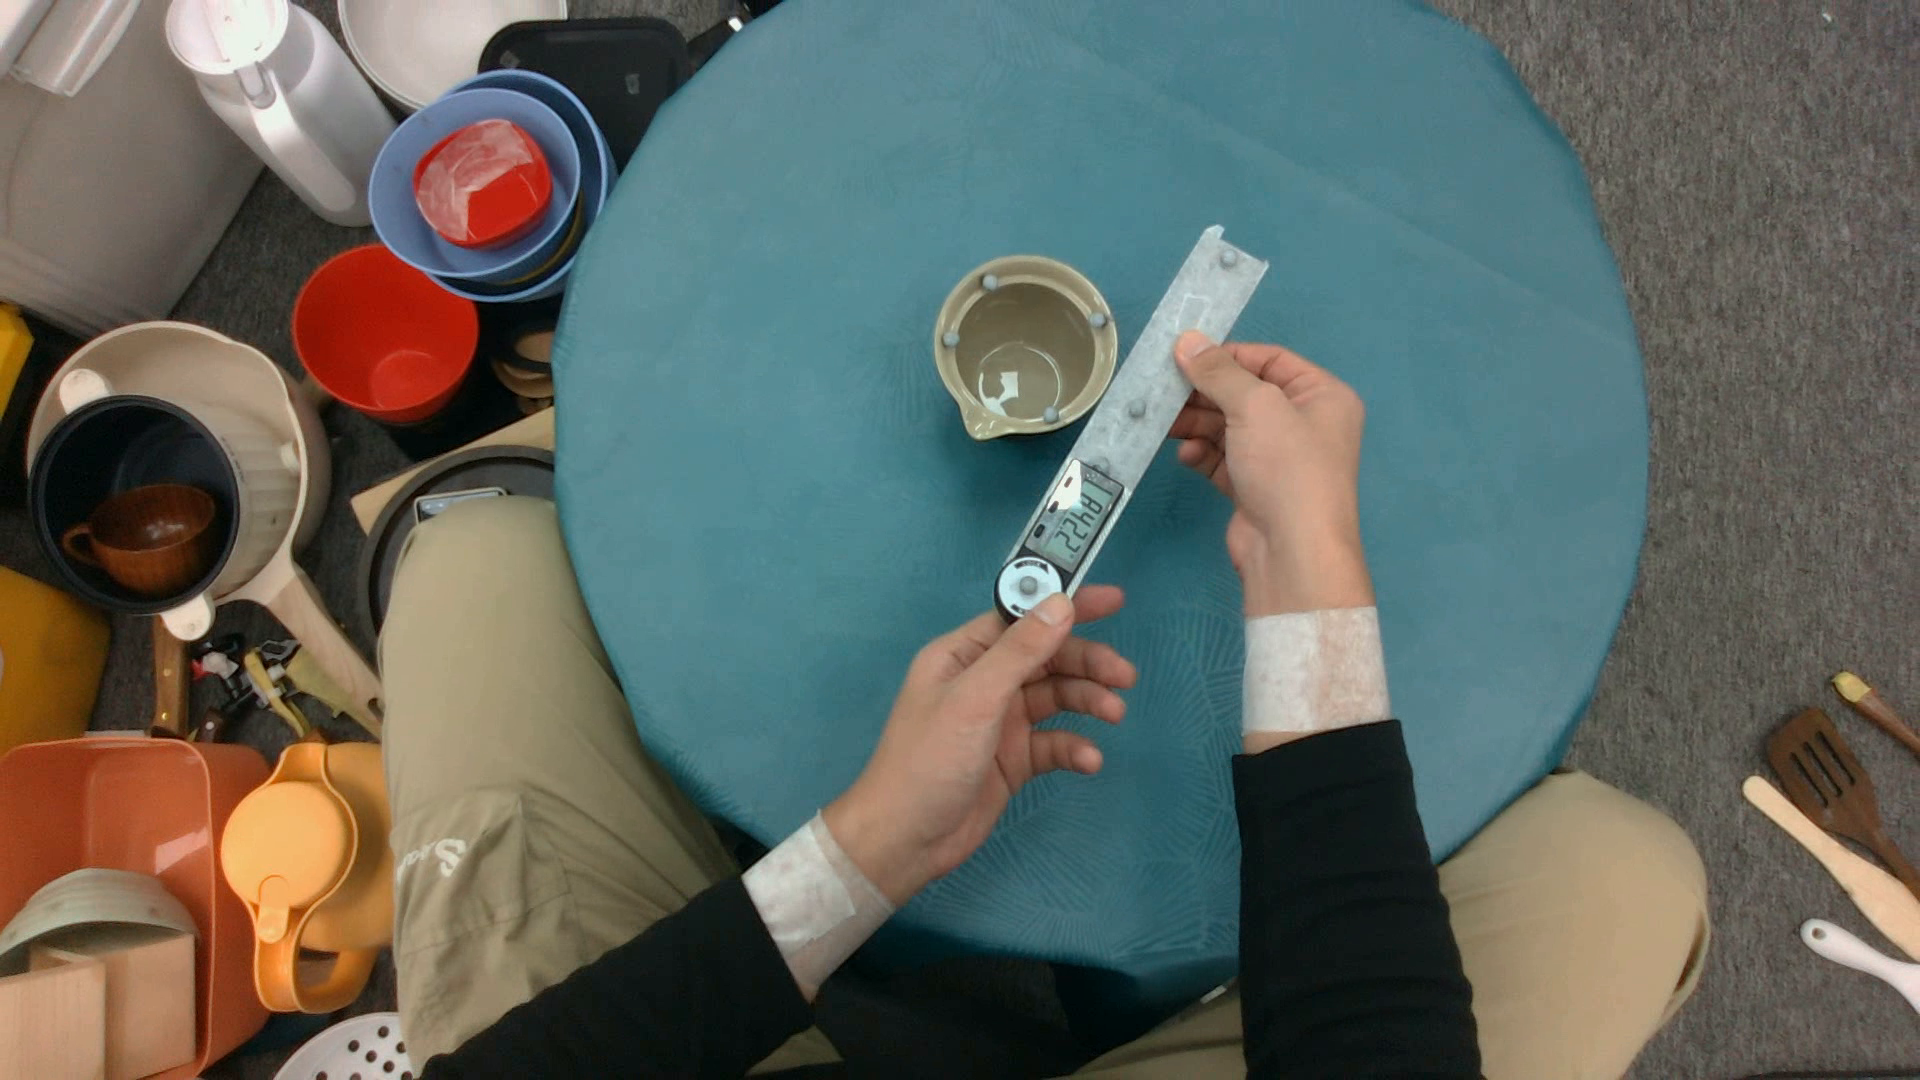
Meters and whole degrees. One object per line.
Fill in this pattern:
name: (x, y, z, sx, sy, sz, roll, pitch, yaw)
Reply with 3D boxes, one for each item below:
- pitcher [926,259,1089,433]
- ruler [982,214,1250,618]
pitcher: (0.020, -0.091, 0.718, 0.083, 0.071, 0.096, 28, 77, 4)
ruler: (0.074, -0.061, 0.651, 0.038, 0.024, 0.218, 30, 80, 0)
